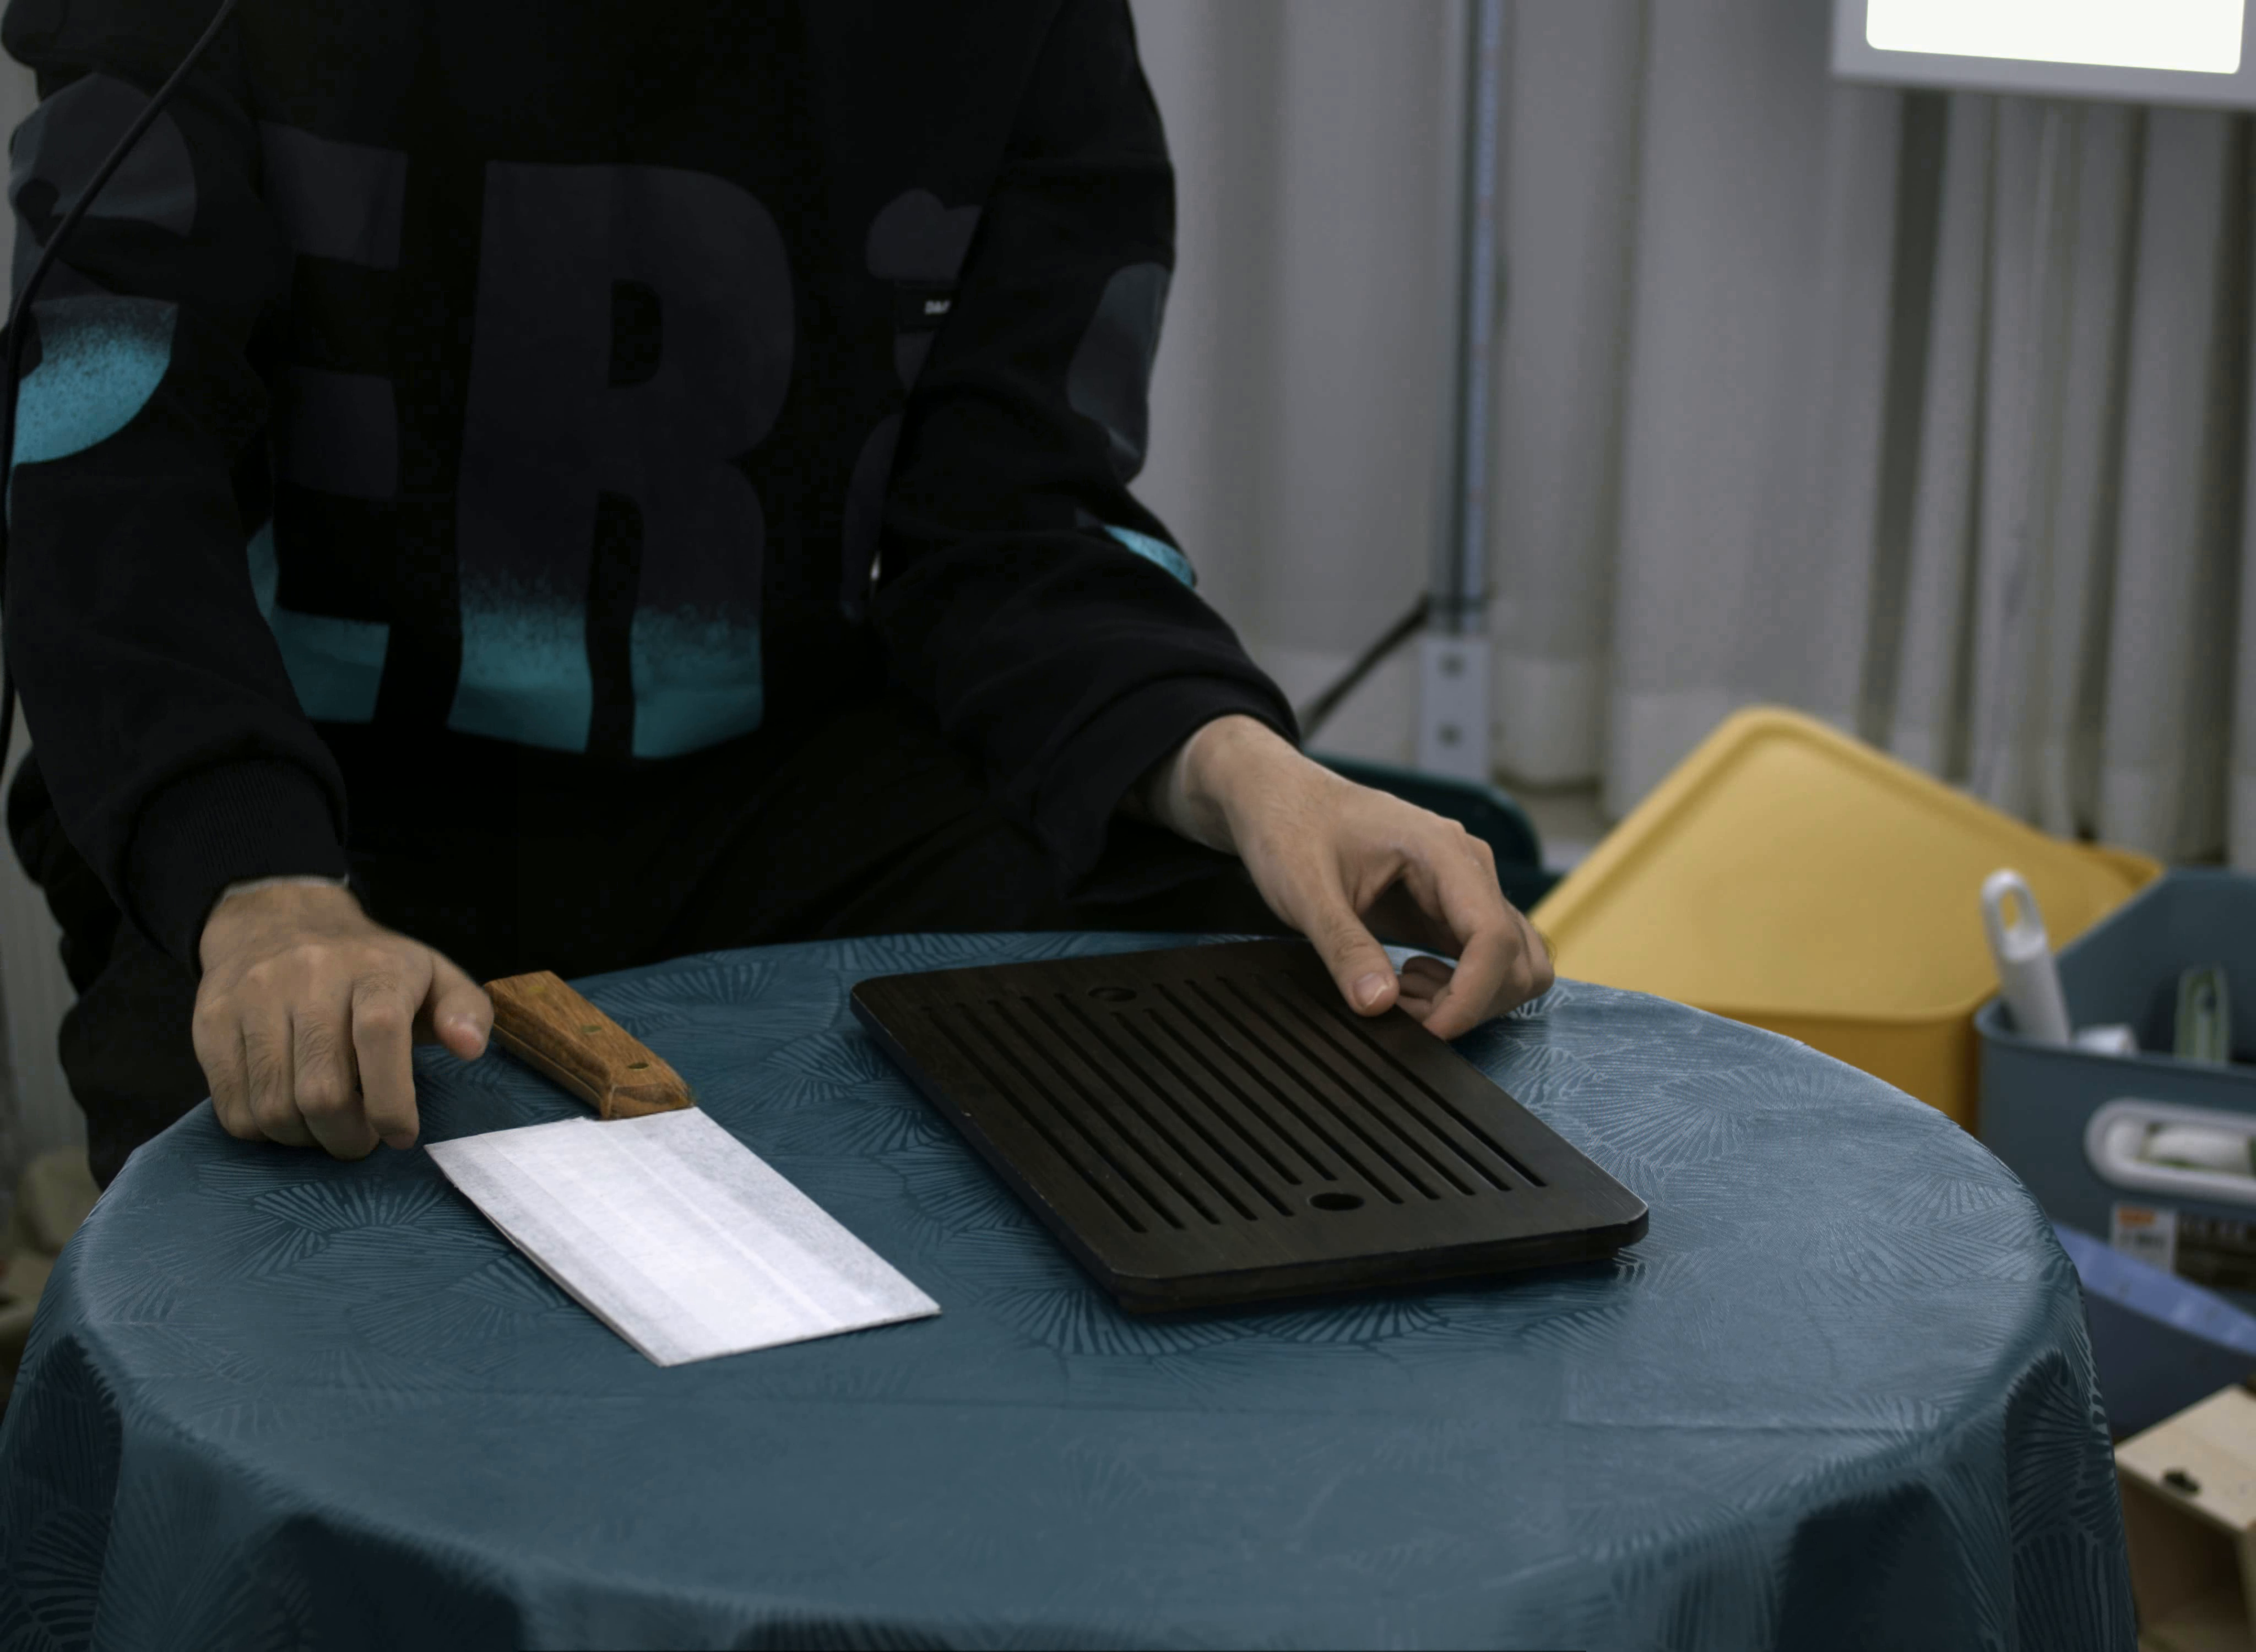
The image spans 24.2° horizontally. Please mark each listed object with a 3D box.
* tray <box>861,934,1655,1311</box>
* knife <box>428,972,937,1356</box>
[{"bbox_3d":[0.033,0.090,1.668,0.170,0.019,0.302,-5,17,-17],"label":"tray"},{"bbox_3d":[-0.161,0.103,1.622,0.093,0.021,0.302,-9,21,-26],"label":"knife"}]
